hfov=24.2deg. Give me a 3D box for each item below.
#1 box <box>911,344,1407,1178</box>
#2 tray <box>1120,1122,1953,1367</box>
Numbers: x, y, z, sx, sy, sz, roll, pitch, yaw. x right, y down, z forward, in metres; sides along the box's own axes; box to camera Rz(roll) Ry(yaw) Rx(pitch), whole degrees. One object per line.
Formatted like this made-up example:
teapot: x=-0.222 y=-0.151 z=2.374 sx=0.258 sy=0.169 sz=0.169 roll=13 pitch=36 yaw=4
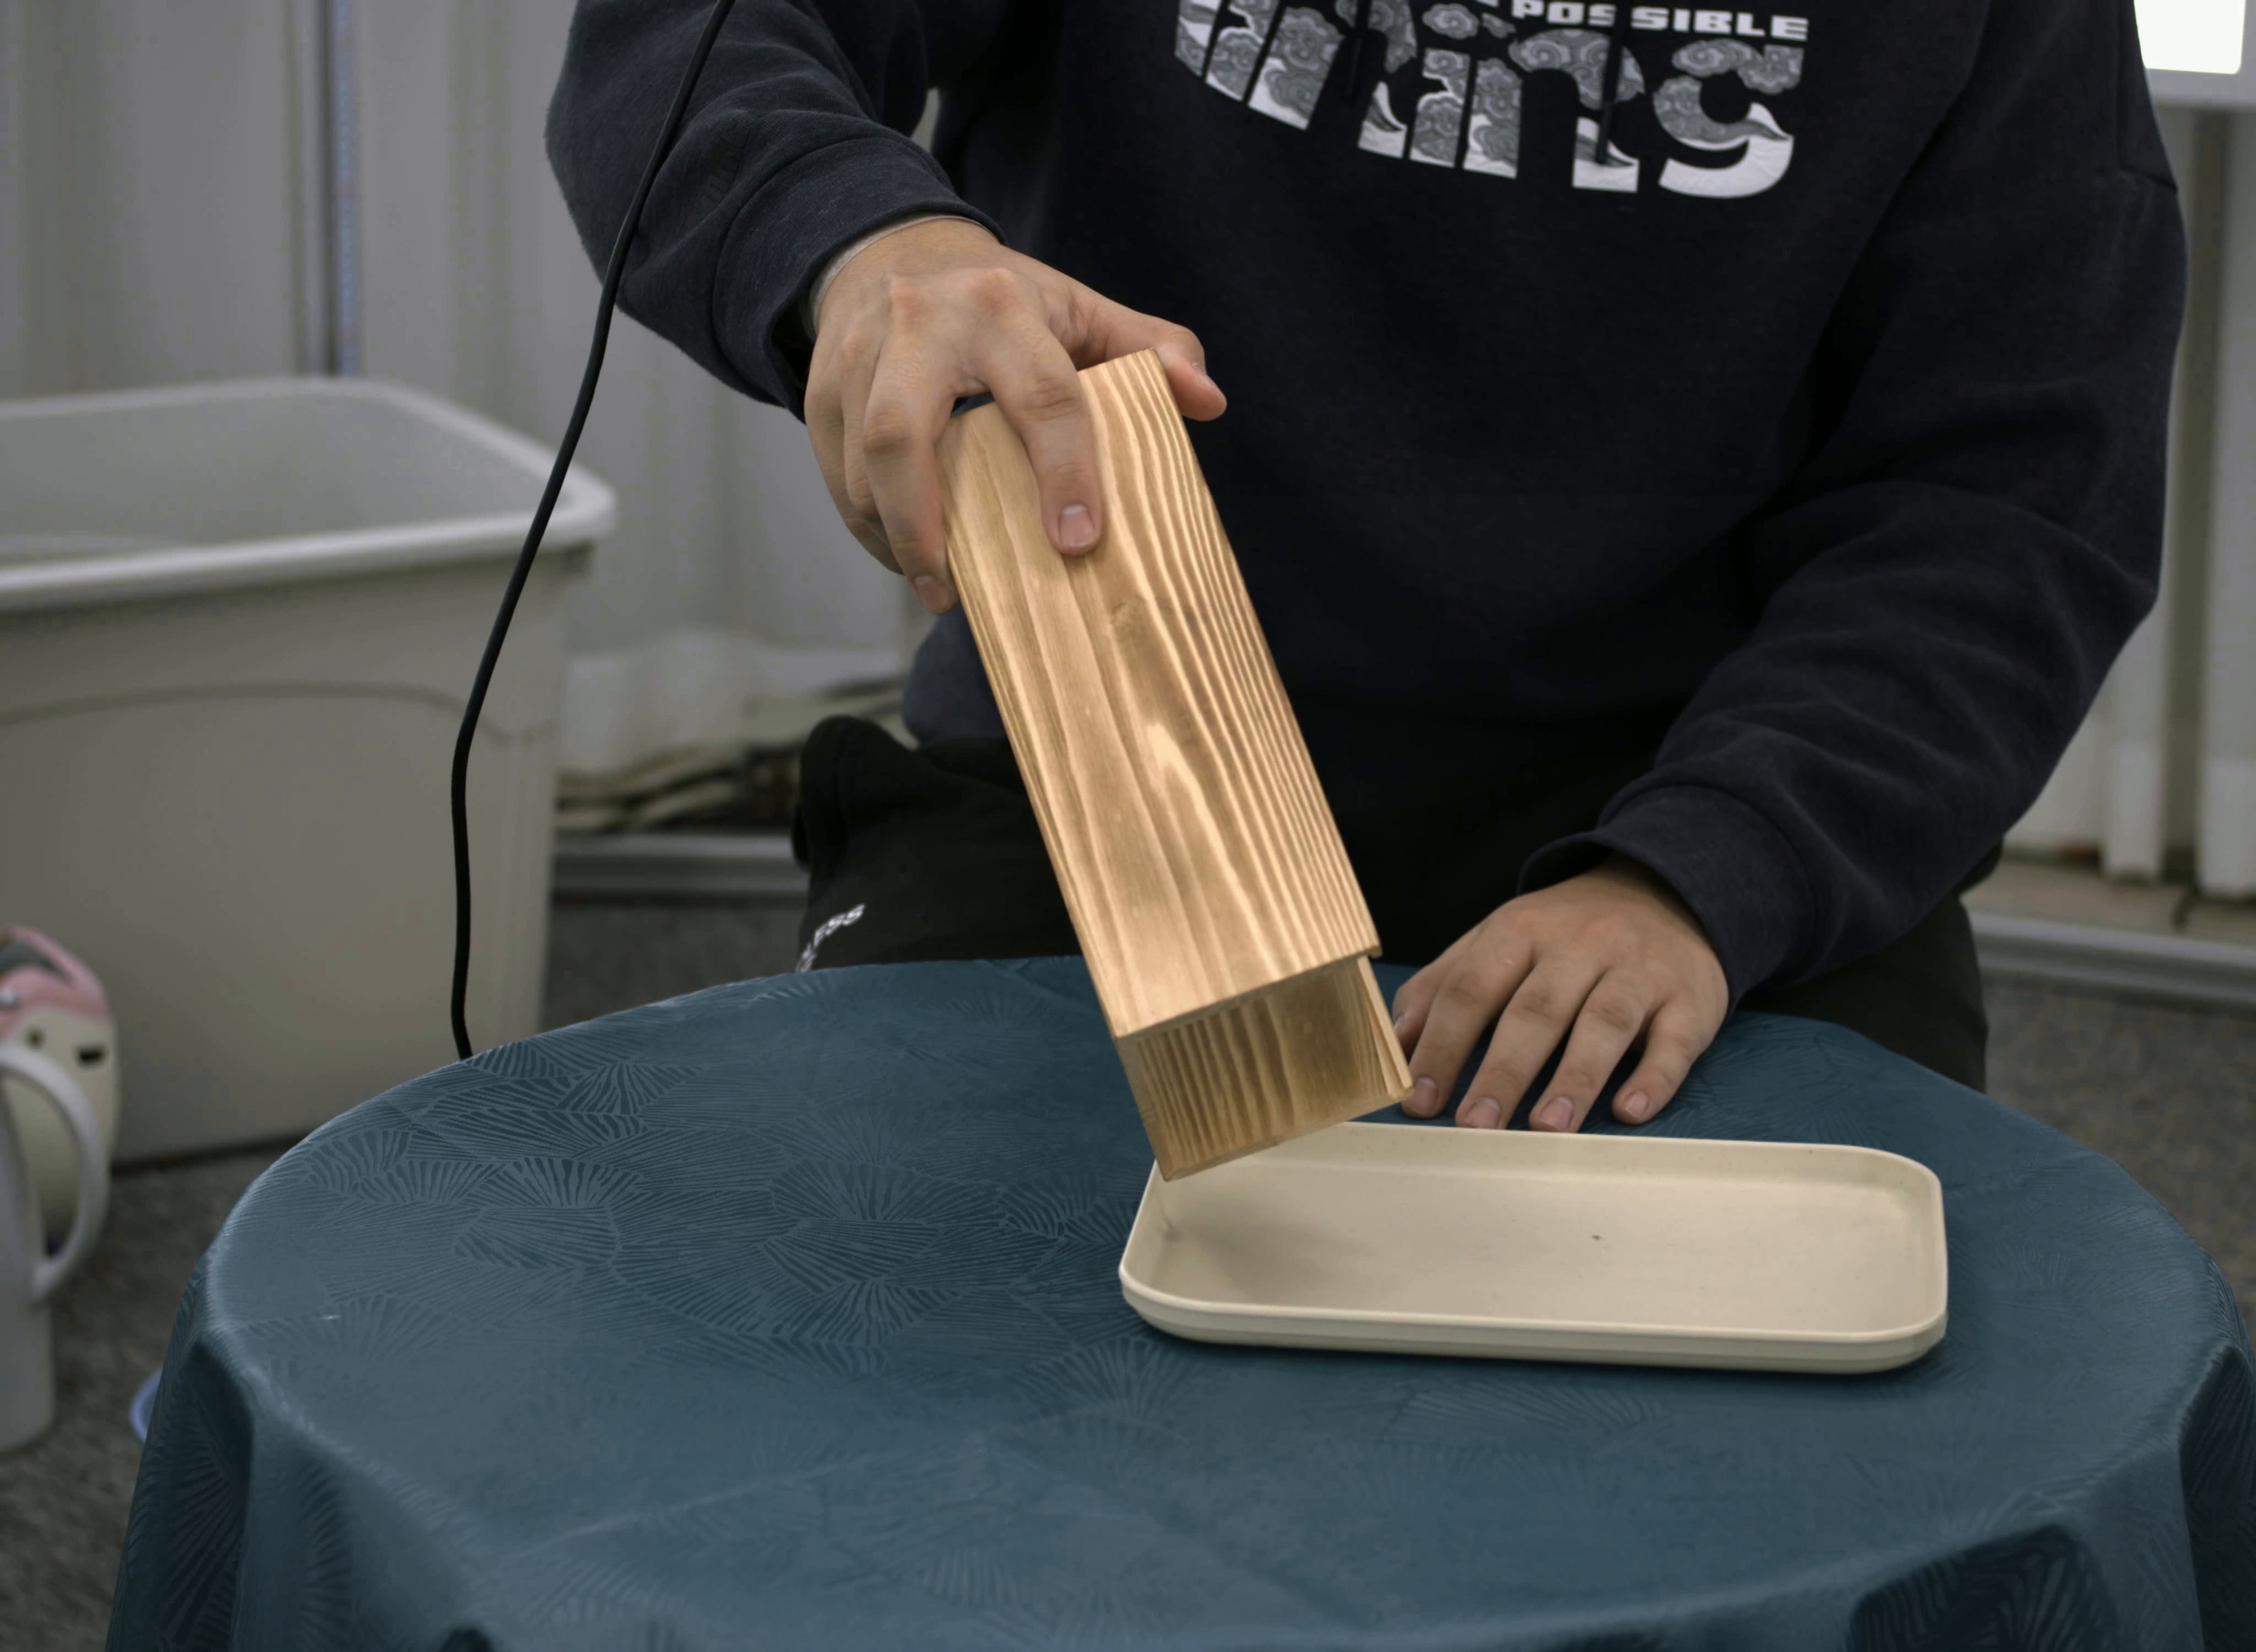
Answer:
box: x=0.009 y=-0.019 z=1.549 sx=0.080 sy=0.209 sz=0.108 roll=-19 pitch=-27 yaw=-1
tray: x=0.122 y=0.124 z=1.559 sx=0.238 sy=0.017 sz=0.171 roll=2 pitch=15 yaw=5
